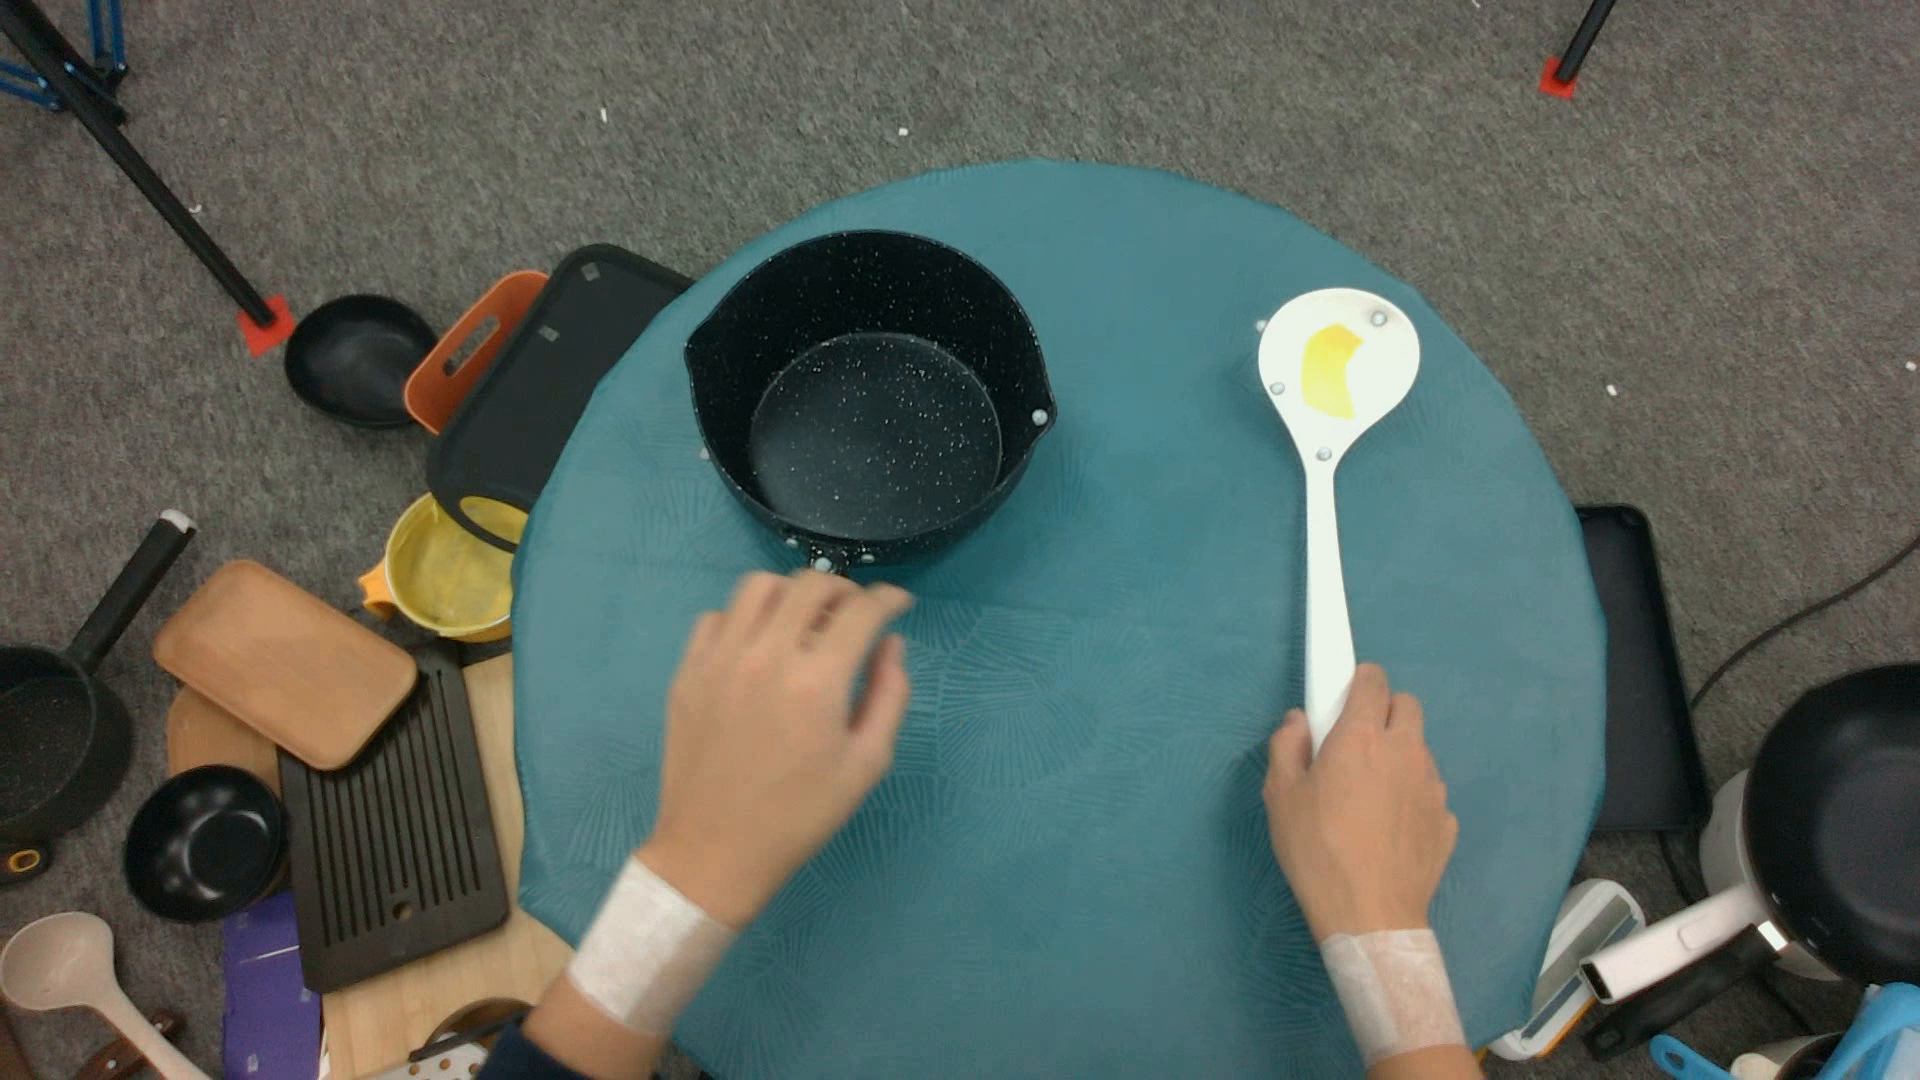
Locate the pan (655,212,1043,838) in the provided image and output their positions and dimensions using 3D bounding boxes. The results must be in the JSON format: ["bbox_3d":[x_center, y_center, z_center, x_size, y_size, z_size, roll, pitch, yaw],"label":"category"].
[{"bbox_3d":[-0.071,-0.008,0.714,0.207,0.108,0.344,10,68,1],"label":"pan"}]

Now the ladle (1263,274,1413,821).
[{"bbox_3d":[0.201,-0.001,0.740,0.090,0.069,0.294,10,67,-10],"label":"ladle"}]
